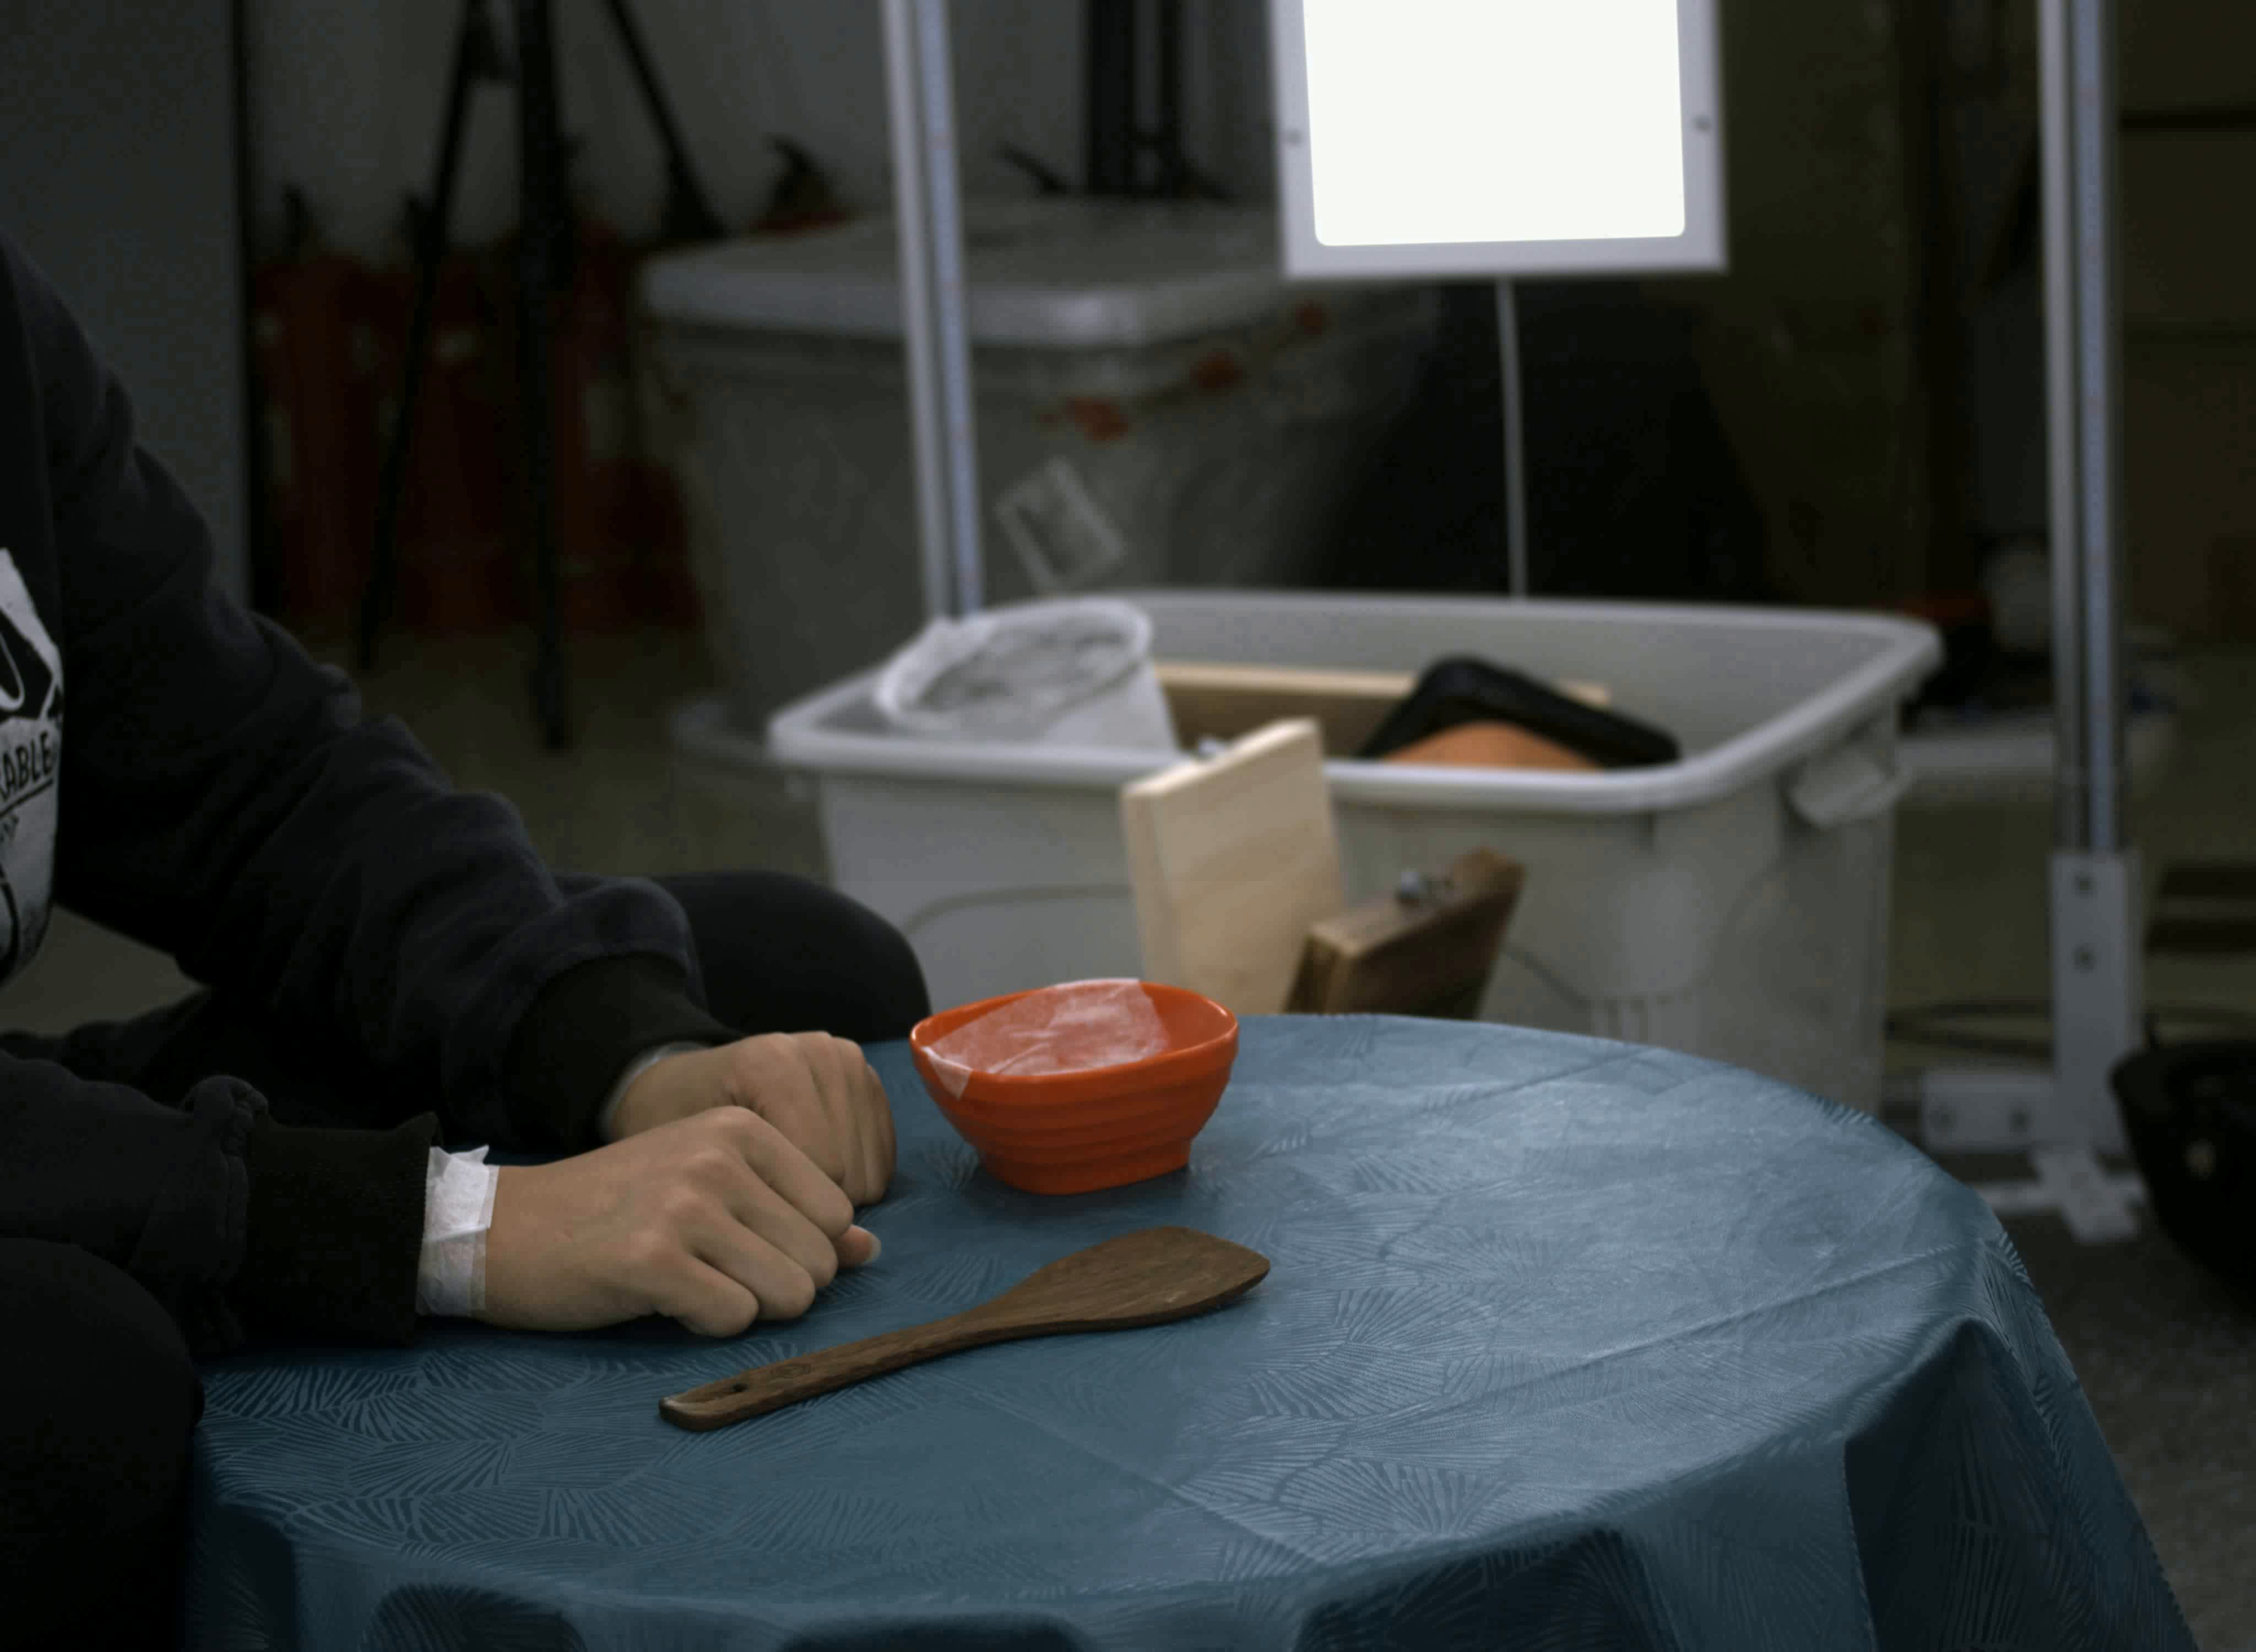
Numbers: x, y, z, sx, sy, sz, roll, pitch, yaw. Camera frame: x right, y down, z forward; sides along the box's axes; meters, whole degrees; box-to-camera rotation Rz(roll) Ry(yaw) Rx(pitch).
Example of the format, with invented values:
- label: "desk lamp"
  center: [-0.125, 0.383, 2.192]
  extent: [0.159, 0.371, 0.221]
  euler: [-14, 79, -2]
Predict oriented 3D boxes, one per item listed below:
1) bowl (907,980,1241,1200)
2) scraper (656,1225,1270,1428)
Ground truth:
- label: "bowl"
  center: [-0.018, 0.095, 1.930]
  extent: [0.118, 0.051, 0.119]
  euler: [-4, 15, 0]
- label: "scraper"
  center: [-0.055, 0.162, 1.758]
  extent: [0.206, 0.011, 0.077]
  euler: [-14, 15, -29]
